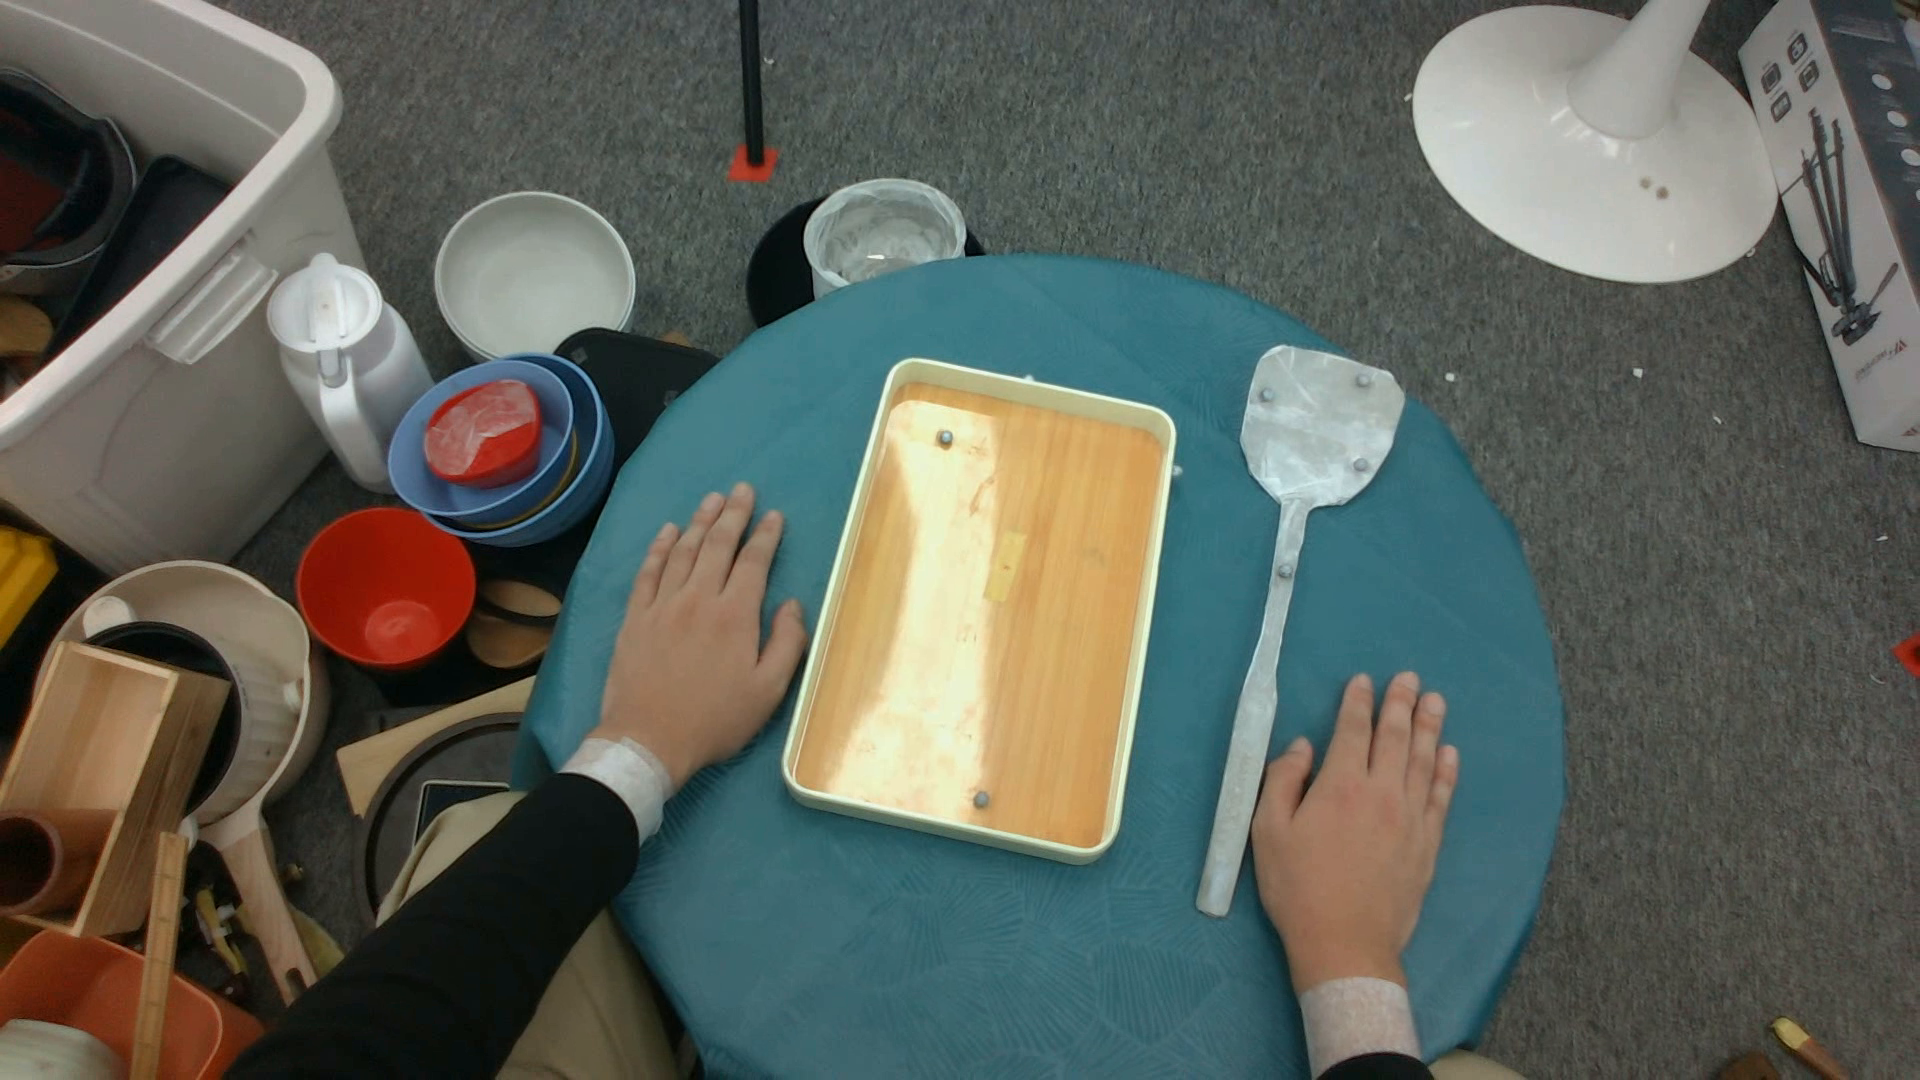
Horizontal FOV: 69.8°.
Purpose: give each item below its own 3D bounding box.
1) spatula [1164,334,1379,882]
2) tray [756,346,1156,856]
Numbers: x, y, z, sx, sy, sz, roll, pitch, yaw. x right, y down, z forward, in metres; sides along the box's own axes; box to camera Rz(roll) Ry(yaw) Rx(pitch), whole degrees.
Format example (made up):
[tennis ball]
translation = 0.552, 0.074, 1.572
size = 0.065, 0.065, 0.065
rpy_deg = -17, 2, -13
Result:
[spatula]
translation = 0.178, 0.032, 0.833
size = 0.098, 0.044, 0.366
rpy_deg = 17, 61, 3
[tray]
translation = 0.006, 0.026, 0.825
size = 0.191, 0.027, 0.301
rpy_deg = 13, 62, 1
